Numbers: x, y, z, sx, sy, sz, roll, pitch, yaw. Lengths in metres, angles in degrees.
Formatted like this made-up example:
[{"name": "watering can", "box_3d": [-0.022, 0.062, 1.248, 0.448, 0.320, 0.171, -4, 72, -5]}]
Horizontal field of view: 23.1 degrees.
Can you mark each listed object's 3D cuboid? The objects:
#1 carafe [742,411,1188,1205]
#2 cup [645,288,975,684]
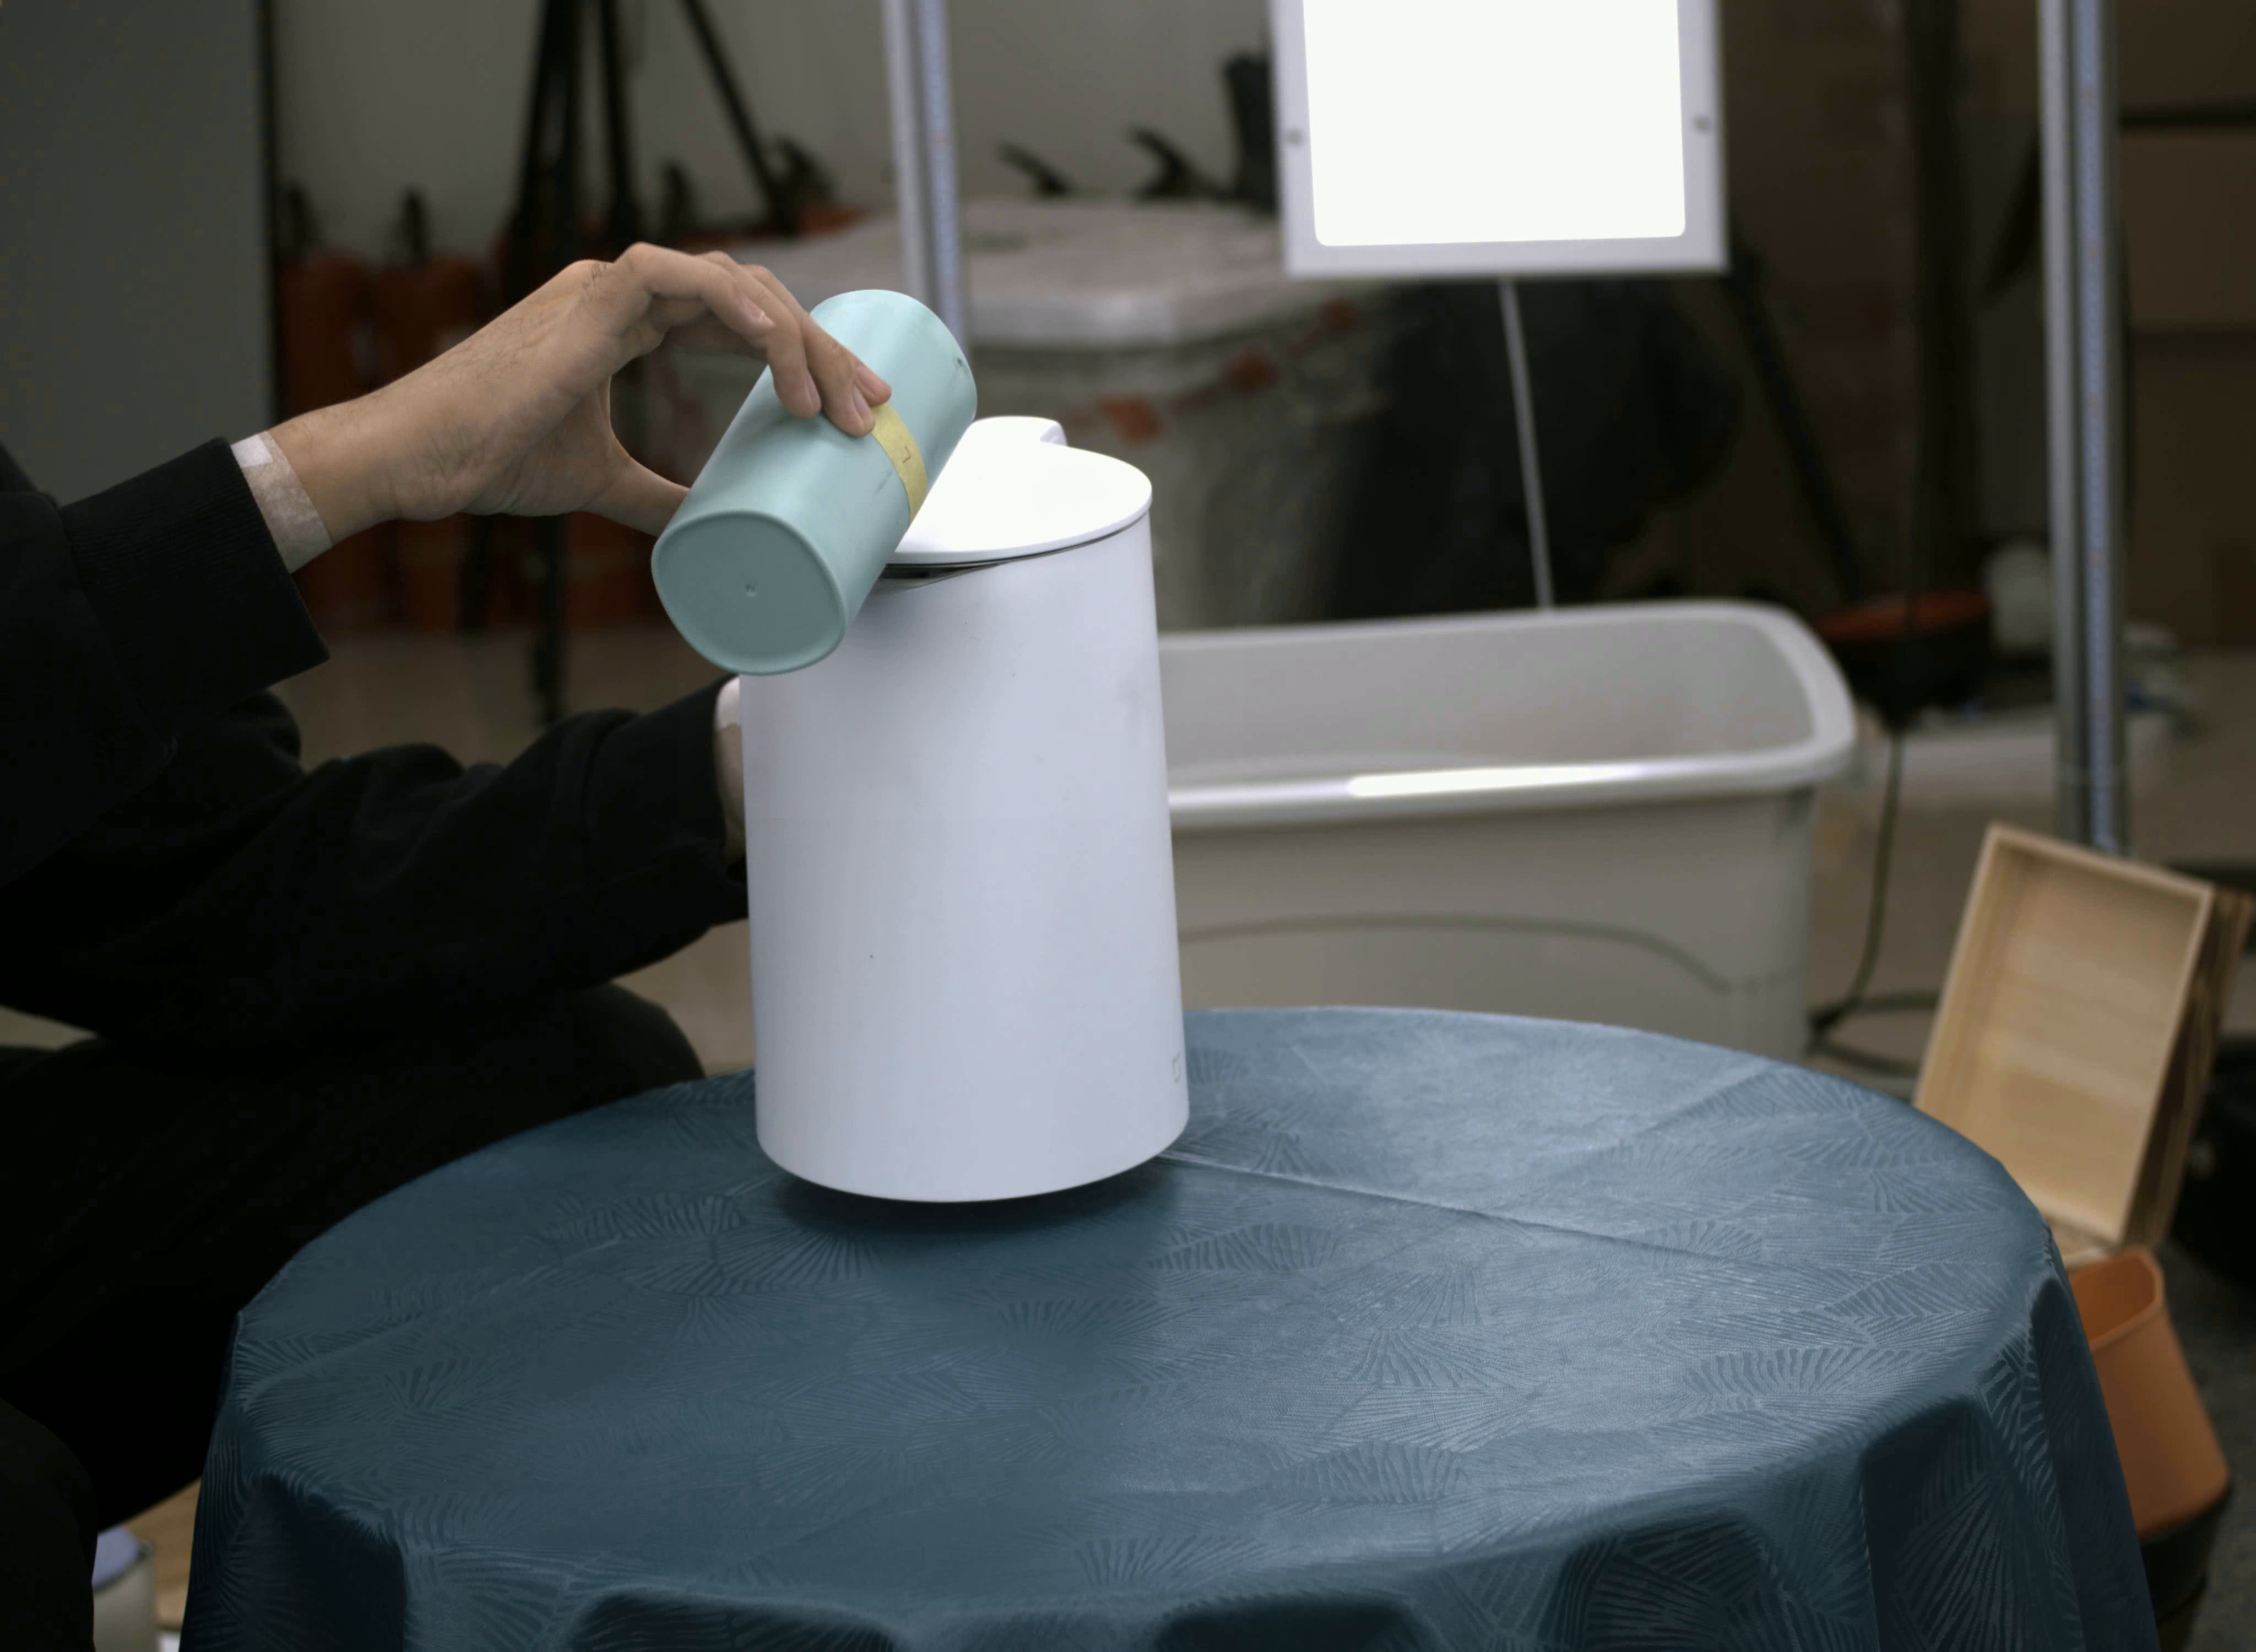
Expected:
[{"name": "carafe", "box_3d": [-0.051, -0.013, 1.917, 0.153, 0.241, 0.210, 3, 20, 14]}, {"name": "cup", "box_3d": [-0.100, -0.107, 1.732, 0.067, 0.067, 0.130, 1, 38, 22]}]
